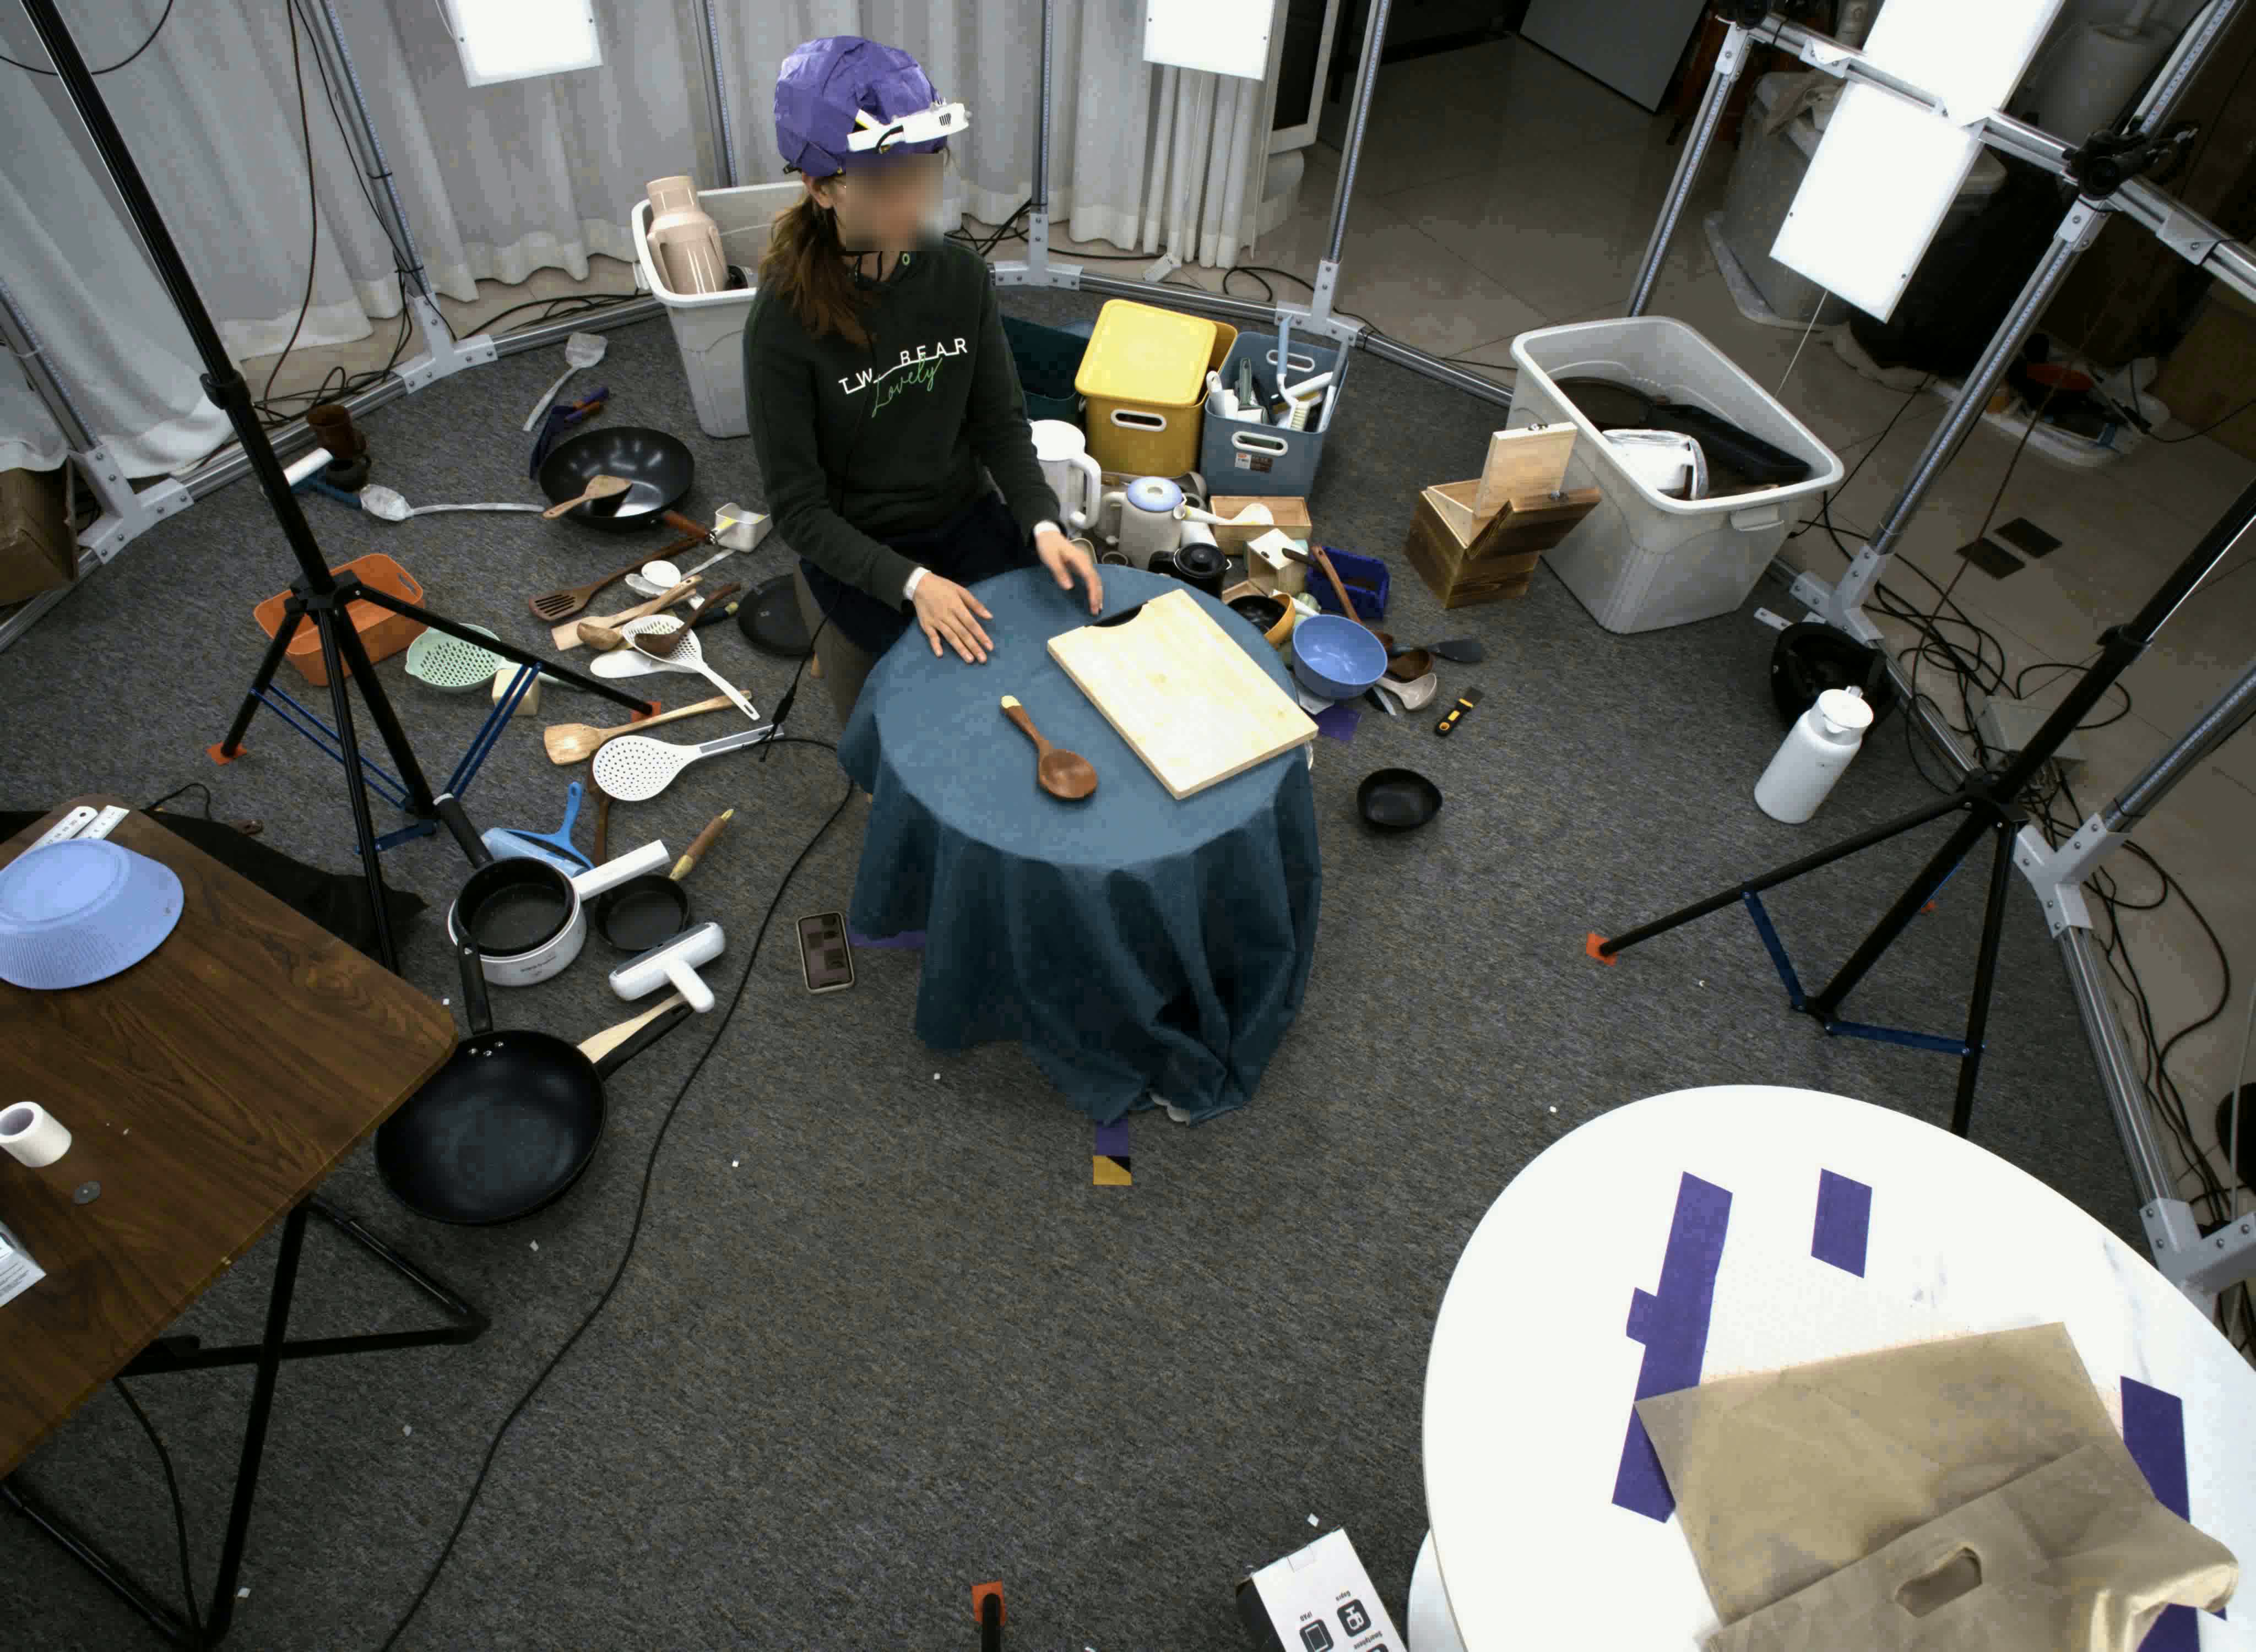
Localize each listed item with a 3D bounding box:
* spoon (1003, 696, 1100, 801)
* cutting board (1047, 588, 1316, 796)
[{"bbox_3d":[-0.113,-0.108,1.759,0.076,0.017,0.220,-24,55,-21],"label":"spoon"},{"bbox_3d":[0.072,-0.202,1.855,0.252,0.023,0.355,-25,55,-24],"label":"cutting board"}]
